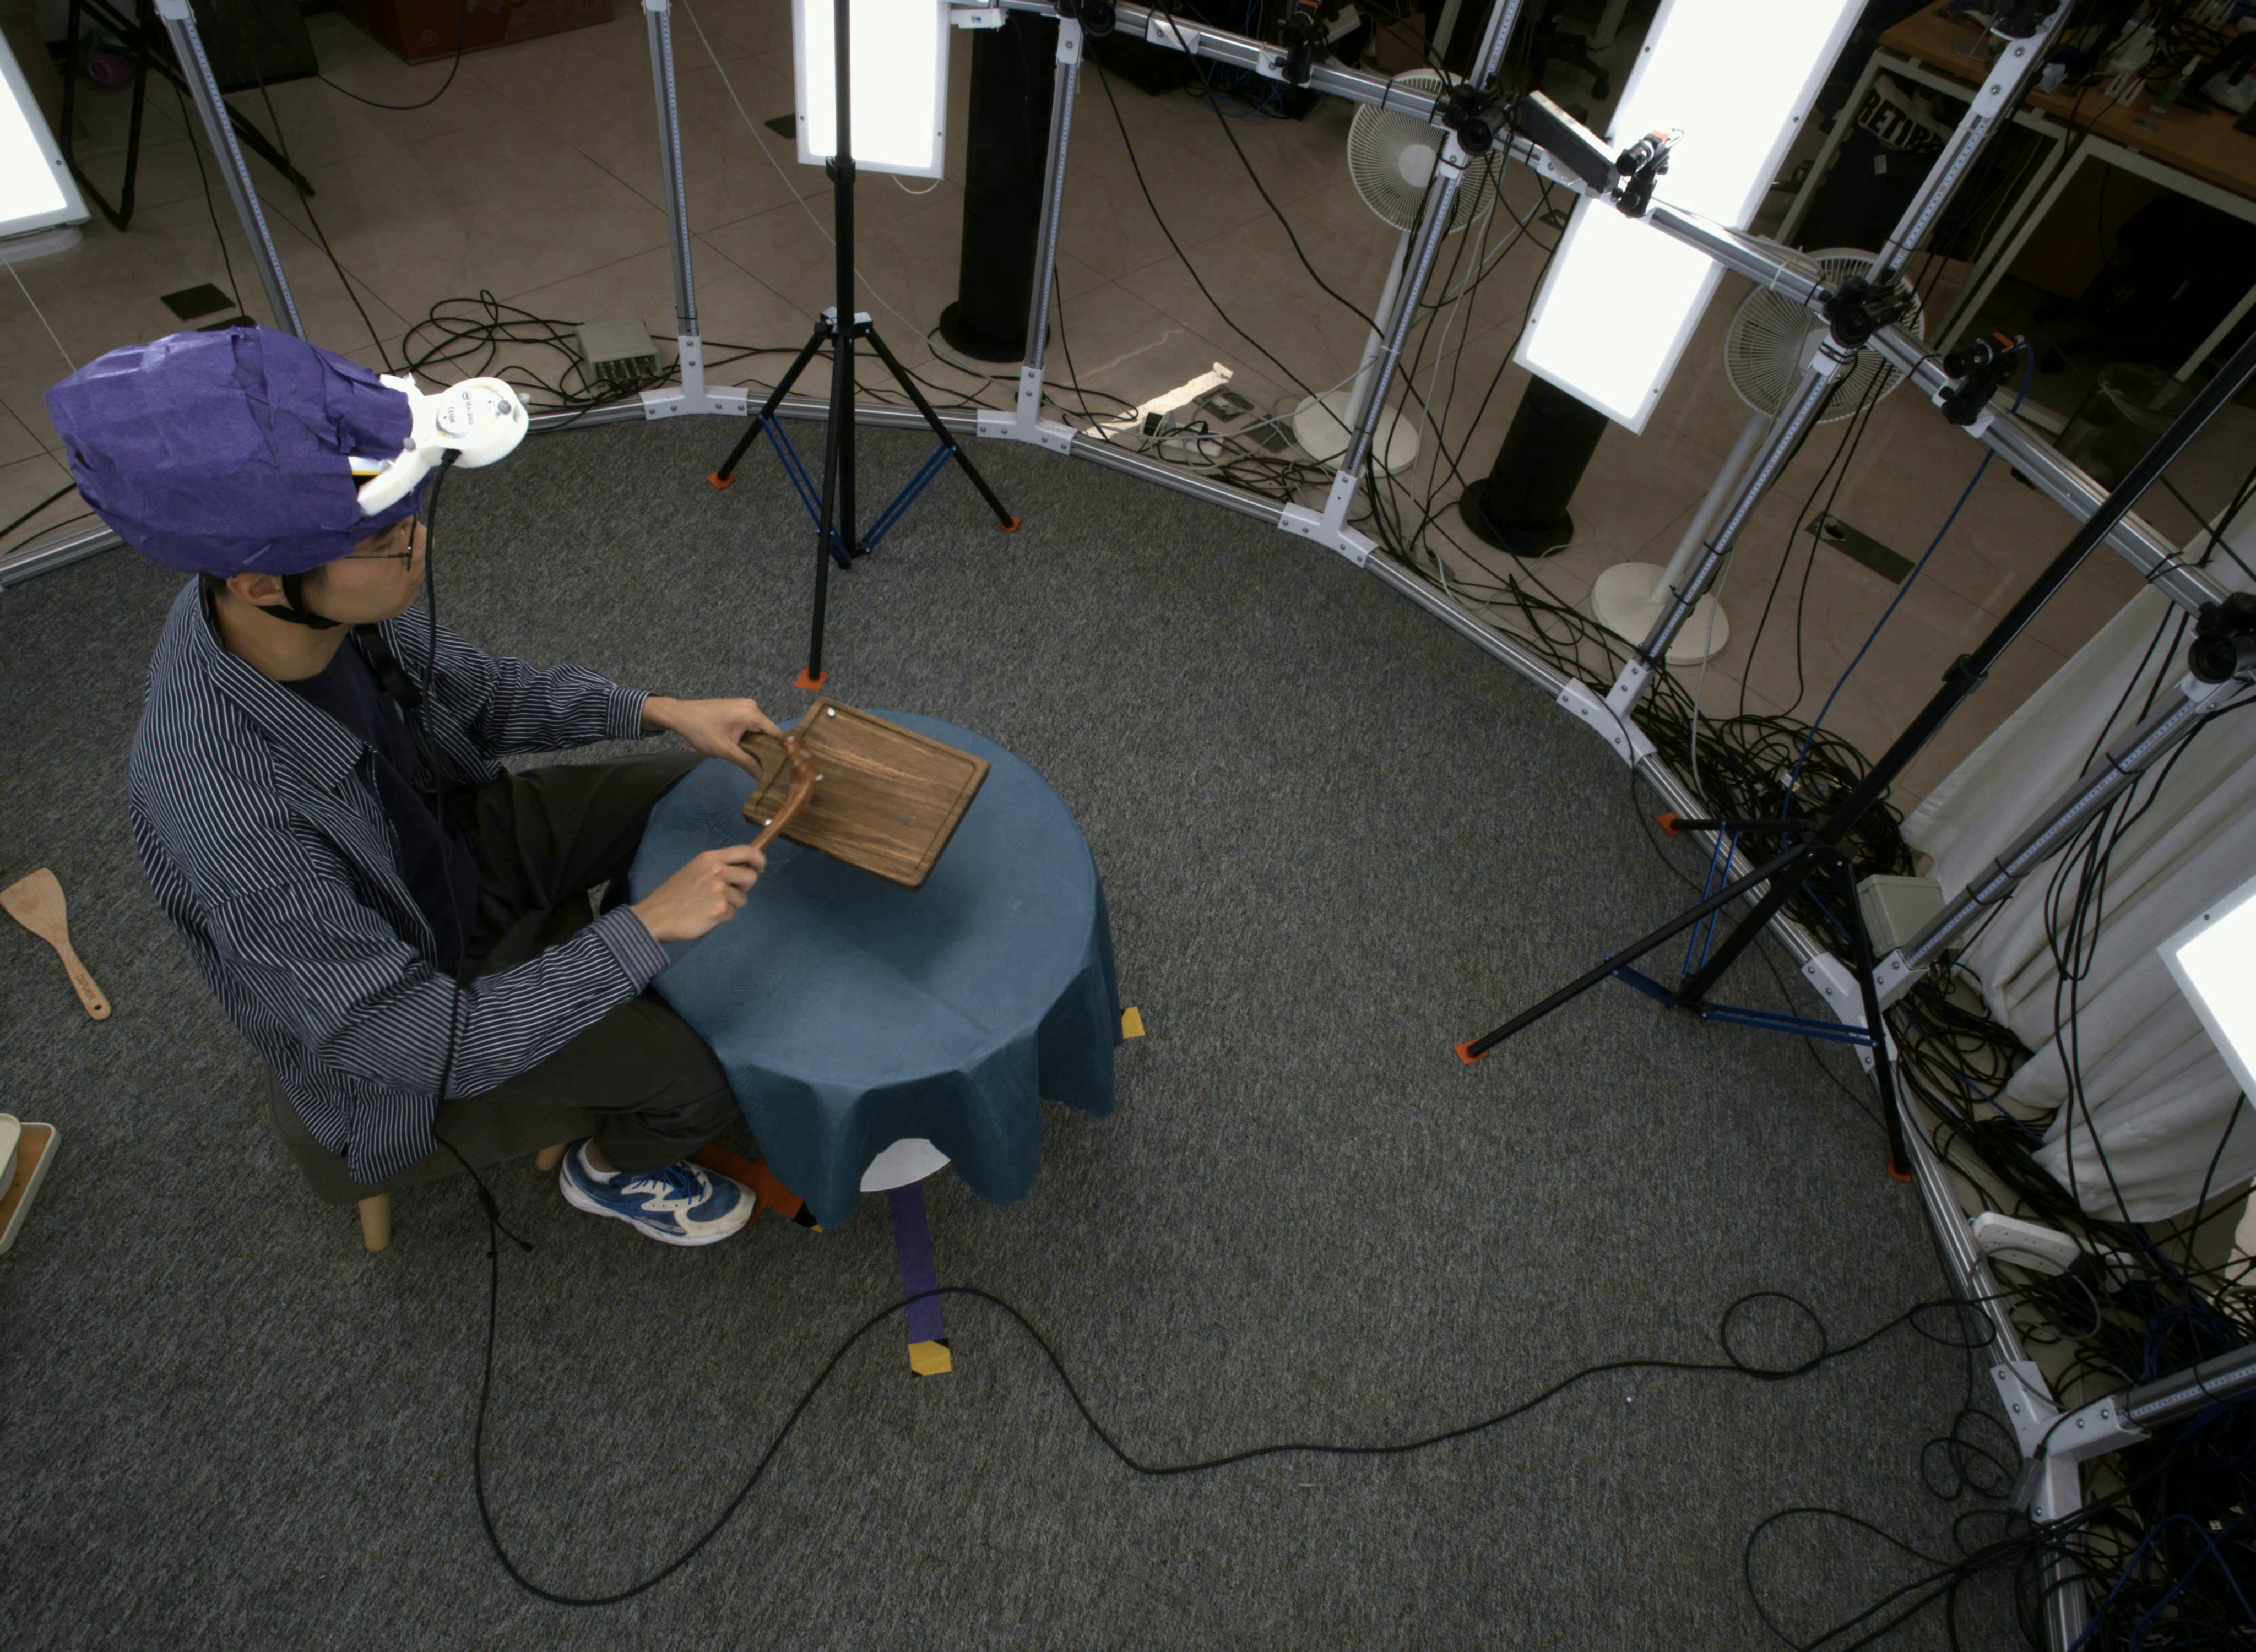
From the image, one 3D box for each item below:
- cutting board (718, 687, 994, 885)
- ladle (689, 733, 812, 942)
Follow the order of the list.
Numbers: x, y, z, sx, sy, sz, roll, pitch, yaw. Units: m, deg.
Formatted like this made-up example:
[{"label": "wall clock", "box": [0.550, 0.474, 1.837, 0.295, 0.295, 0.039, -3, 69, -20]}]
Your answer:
[{"label": "cutting board", "box": [-0.364, -0.073, 1.633, 0.345, 0.024, 0.200, 23, 65, 9]}, {"label": "ladle", "box": [-0.456, 0.006, 1.518, 0.074, 0.084, 0.273, 21, 62, 18]}]
